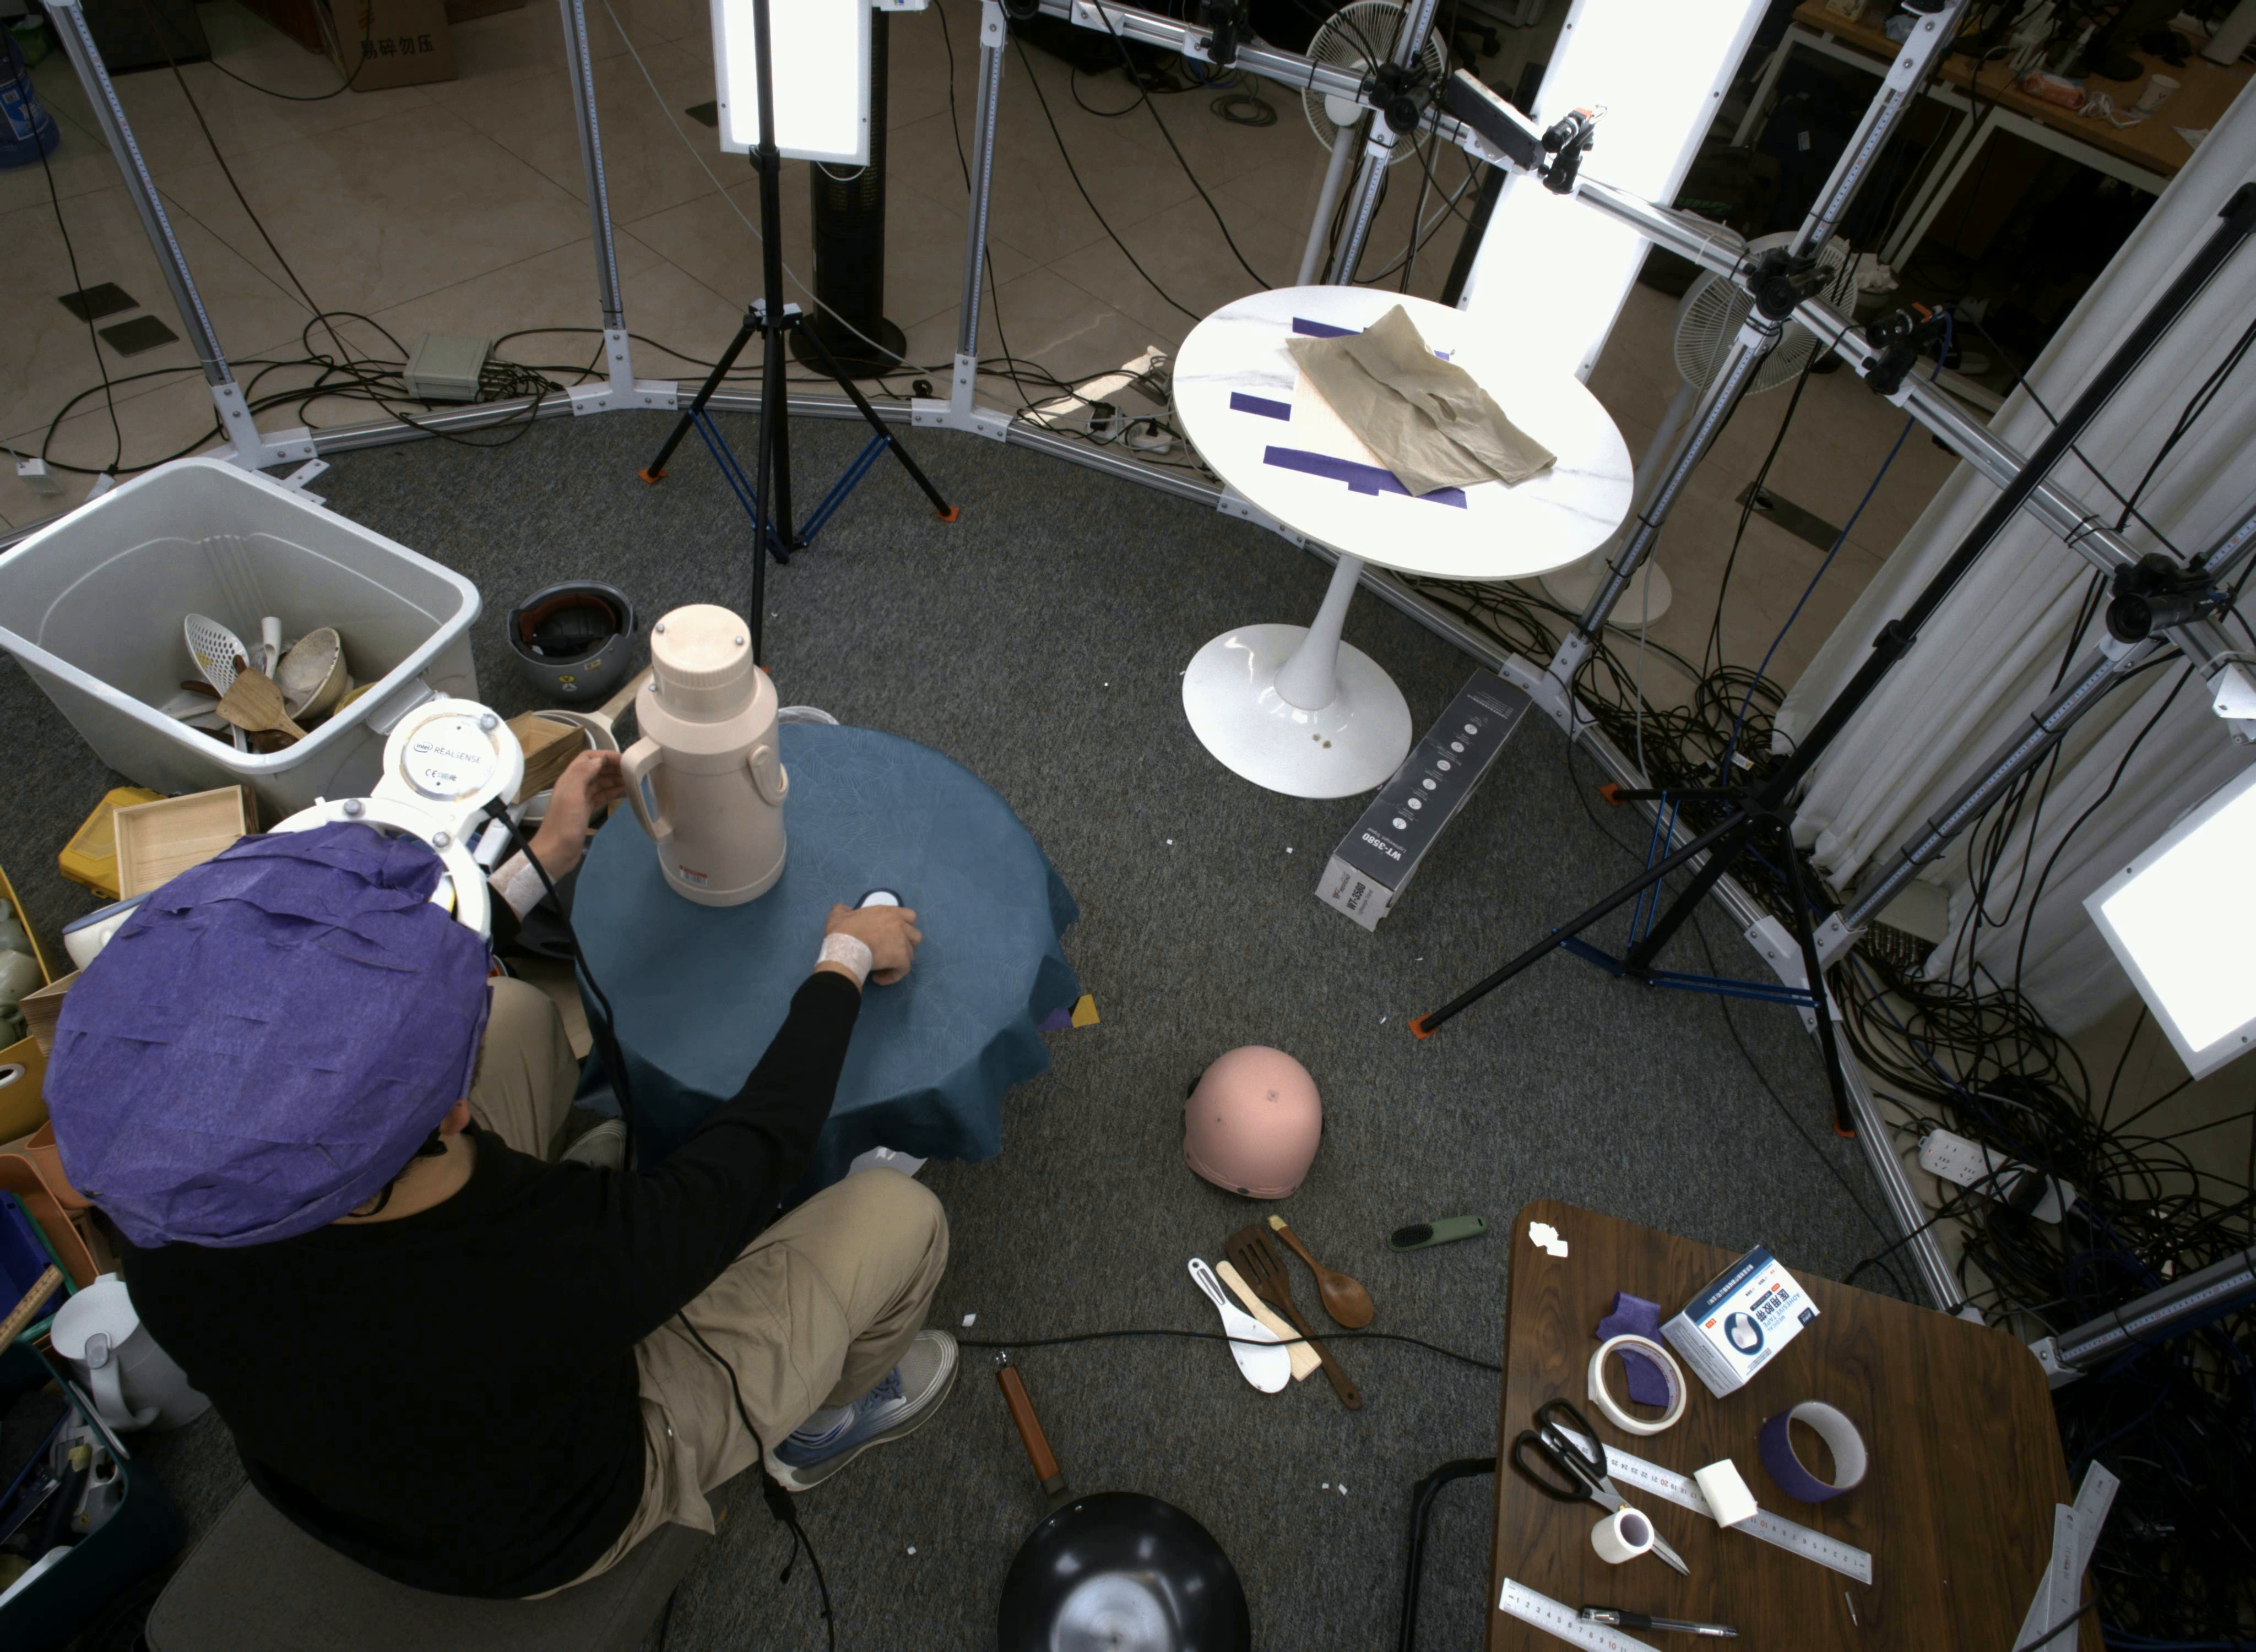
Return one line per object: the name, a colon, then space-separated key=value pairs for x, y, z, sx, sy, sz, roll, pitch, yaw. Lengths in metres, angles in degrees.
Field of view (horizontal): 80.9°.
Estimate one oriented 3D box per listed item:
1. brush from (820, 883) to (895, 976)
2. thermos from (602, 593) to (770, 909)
brush: x=-0.334 y=0.127 z=1.604 sx=0.067 sy=0.062 sz=0.121 roll=27 pitch=52 yaw=5
thermos: x=-0.517 y=-0.076 z=1.494 sx=0.172 sy=0.414 sz=0.207 roll=34 pitch=53 yaw=13
